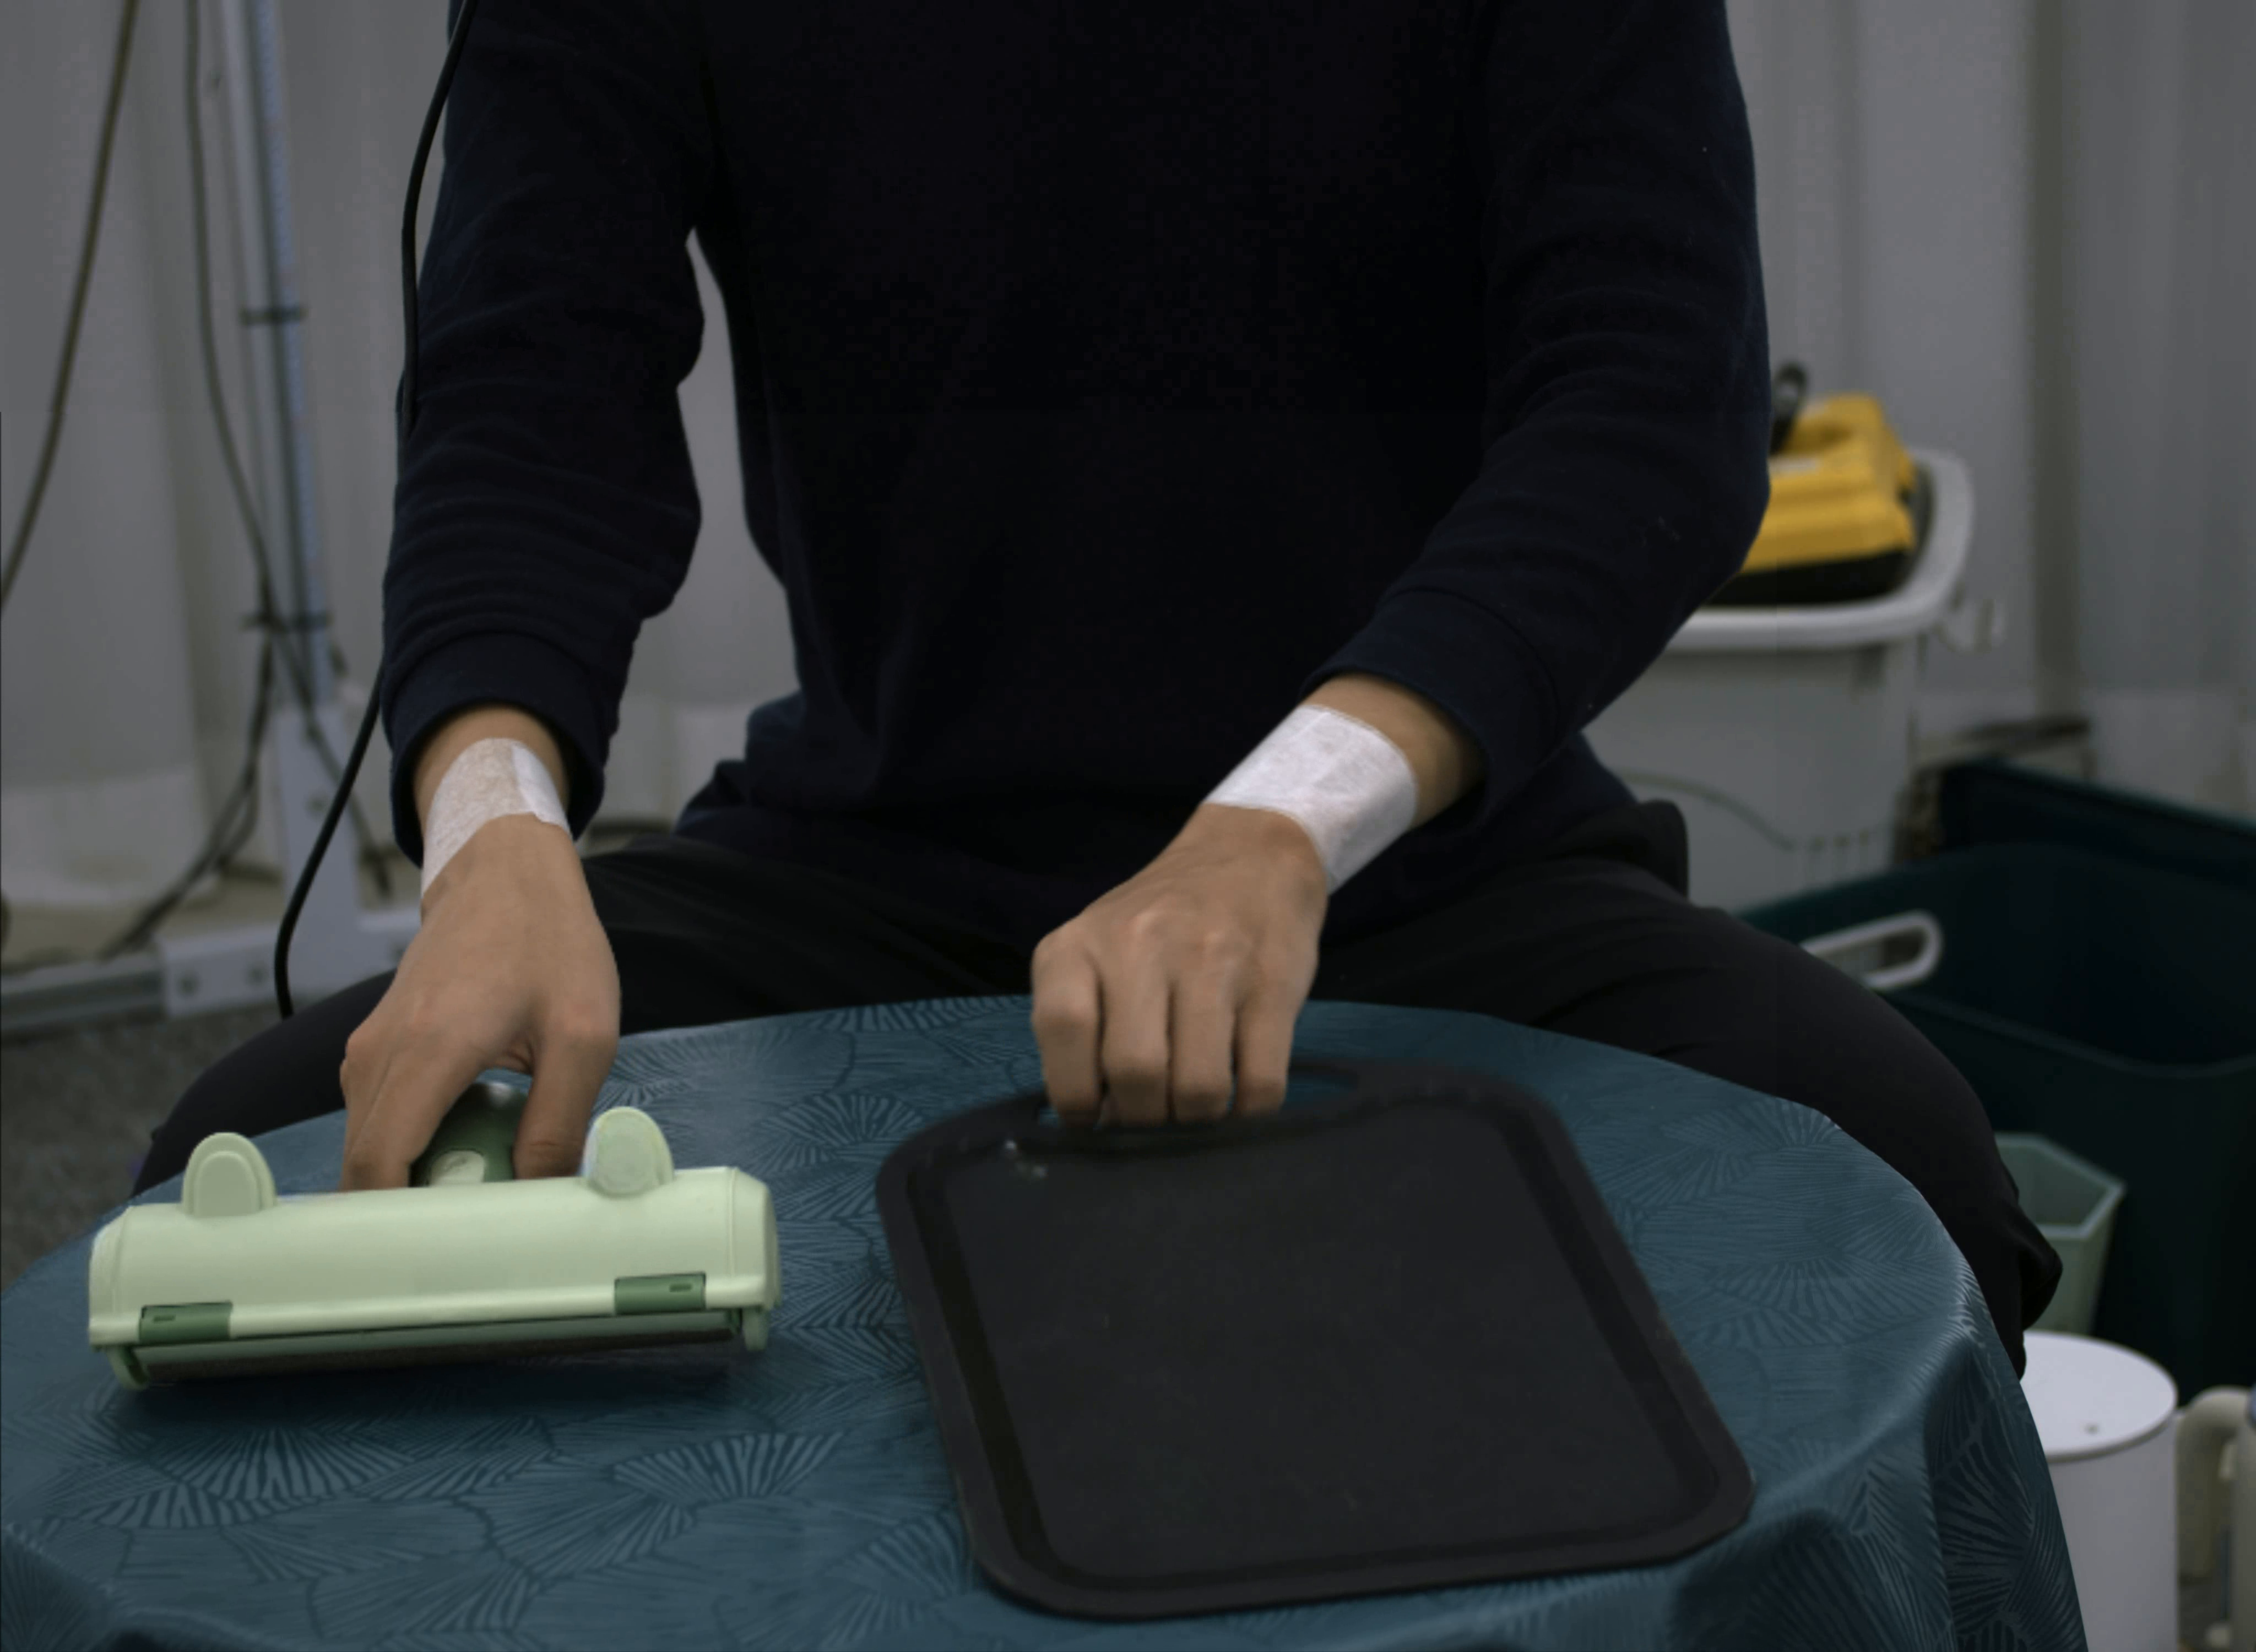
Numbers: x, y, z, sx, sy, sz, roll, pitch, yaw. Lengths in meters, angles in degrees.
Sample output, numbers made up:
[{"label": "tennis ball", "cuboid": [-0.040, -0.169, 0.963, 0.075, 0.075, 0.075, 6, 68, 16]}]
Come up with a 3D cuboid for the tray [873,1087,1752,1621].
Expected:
[{"label": "tray", "cuboid": [0.042, 0.139, 1.544, 0.210, 0.010, 0.329, -5, 21, -8]}]

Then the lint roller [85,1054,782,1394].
[{"label": "lint roller", "cuboid": [-0.201, 0.097, 1.627, 0.198, 0.081, 0.185, -3, 30, 0]}]
